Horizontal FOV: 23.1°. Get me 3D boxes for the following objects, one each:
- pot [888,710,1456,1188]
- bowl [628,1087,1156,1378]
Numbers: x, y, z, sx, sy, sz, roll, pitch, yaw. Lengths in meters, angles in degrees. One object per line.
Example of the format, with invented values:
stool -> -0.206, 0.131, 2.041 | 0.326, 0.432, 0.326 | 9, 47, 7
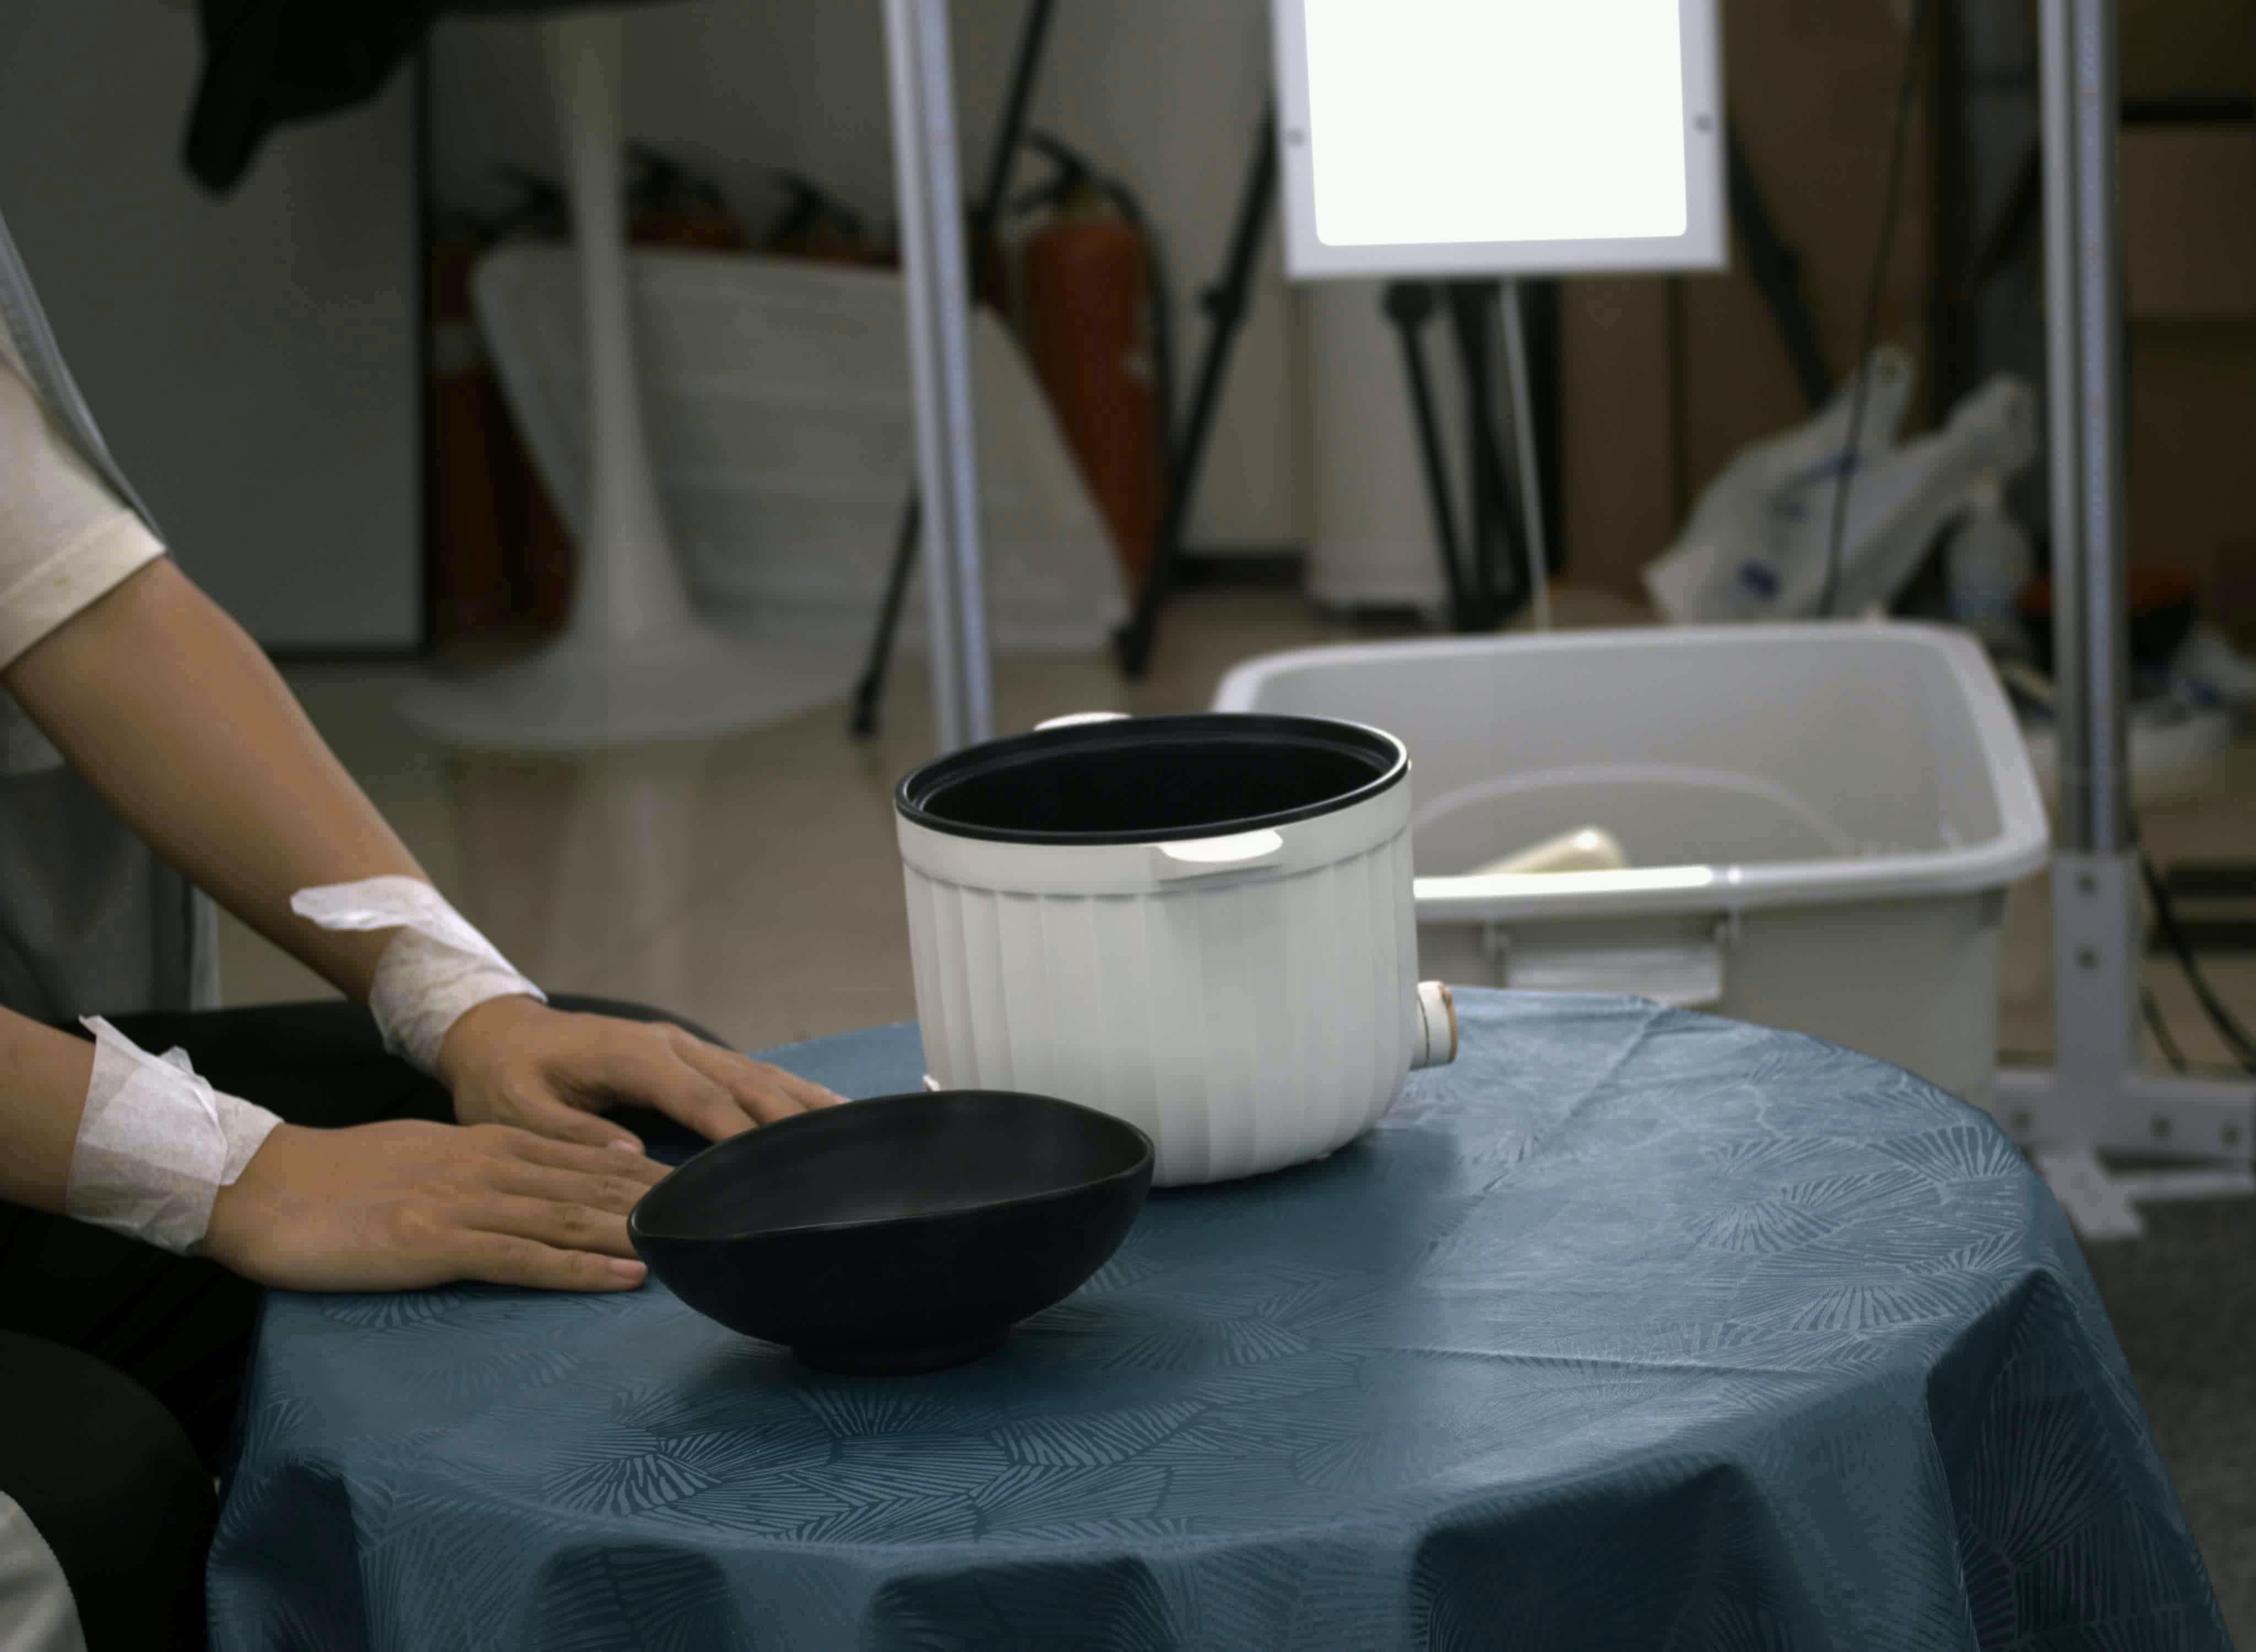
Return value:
pot -> 0.017, 0.044, 1.938 | 0.188, 0.143, 0.242 | -11, 15, -11
bowl -> -0.073, 0.134, 1.754 | 0.169, 0.067, 0.137 | -7, 13, -4
